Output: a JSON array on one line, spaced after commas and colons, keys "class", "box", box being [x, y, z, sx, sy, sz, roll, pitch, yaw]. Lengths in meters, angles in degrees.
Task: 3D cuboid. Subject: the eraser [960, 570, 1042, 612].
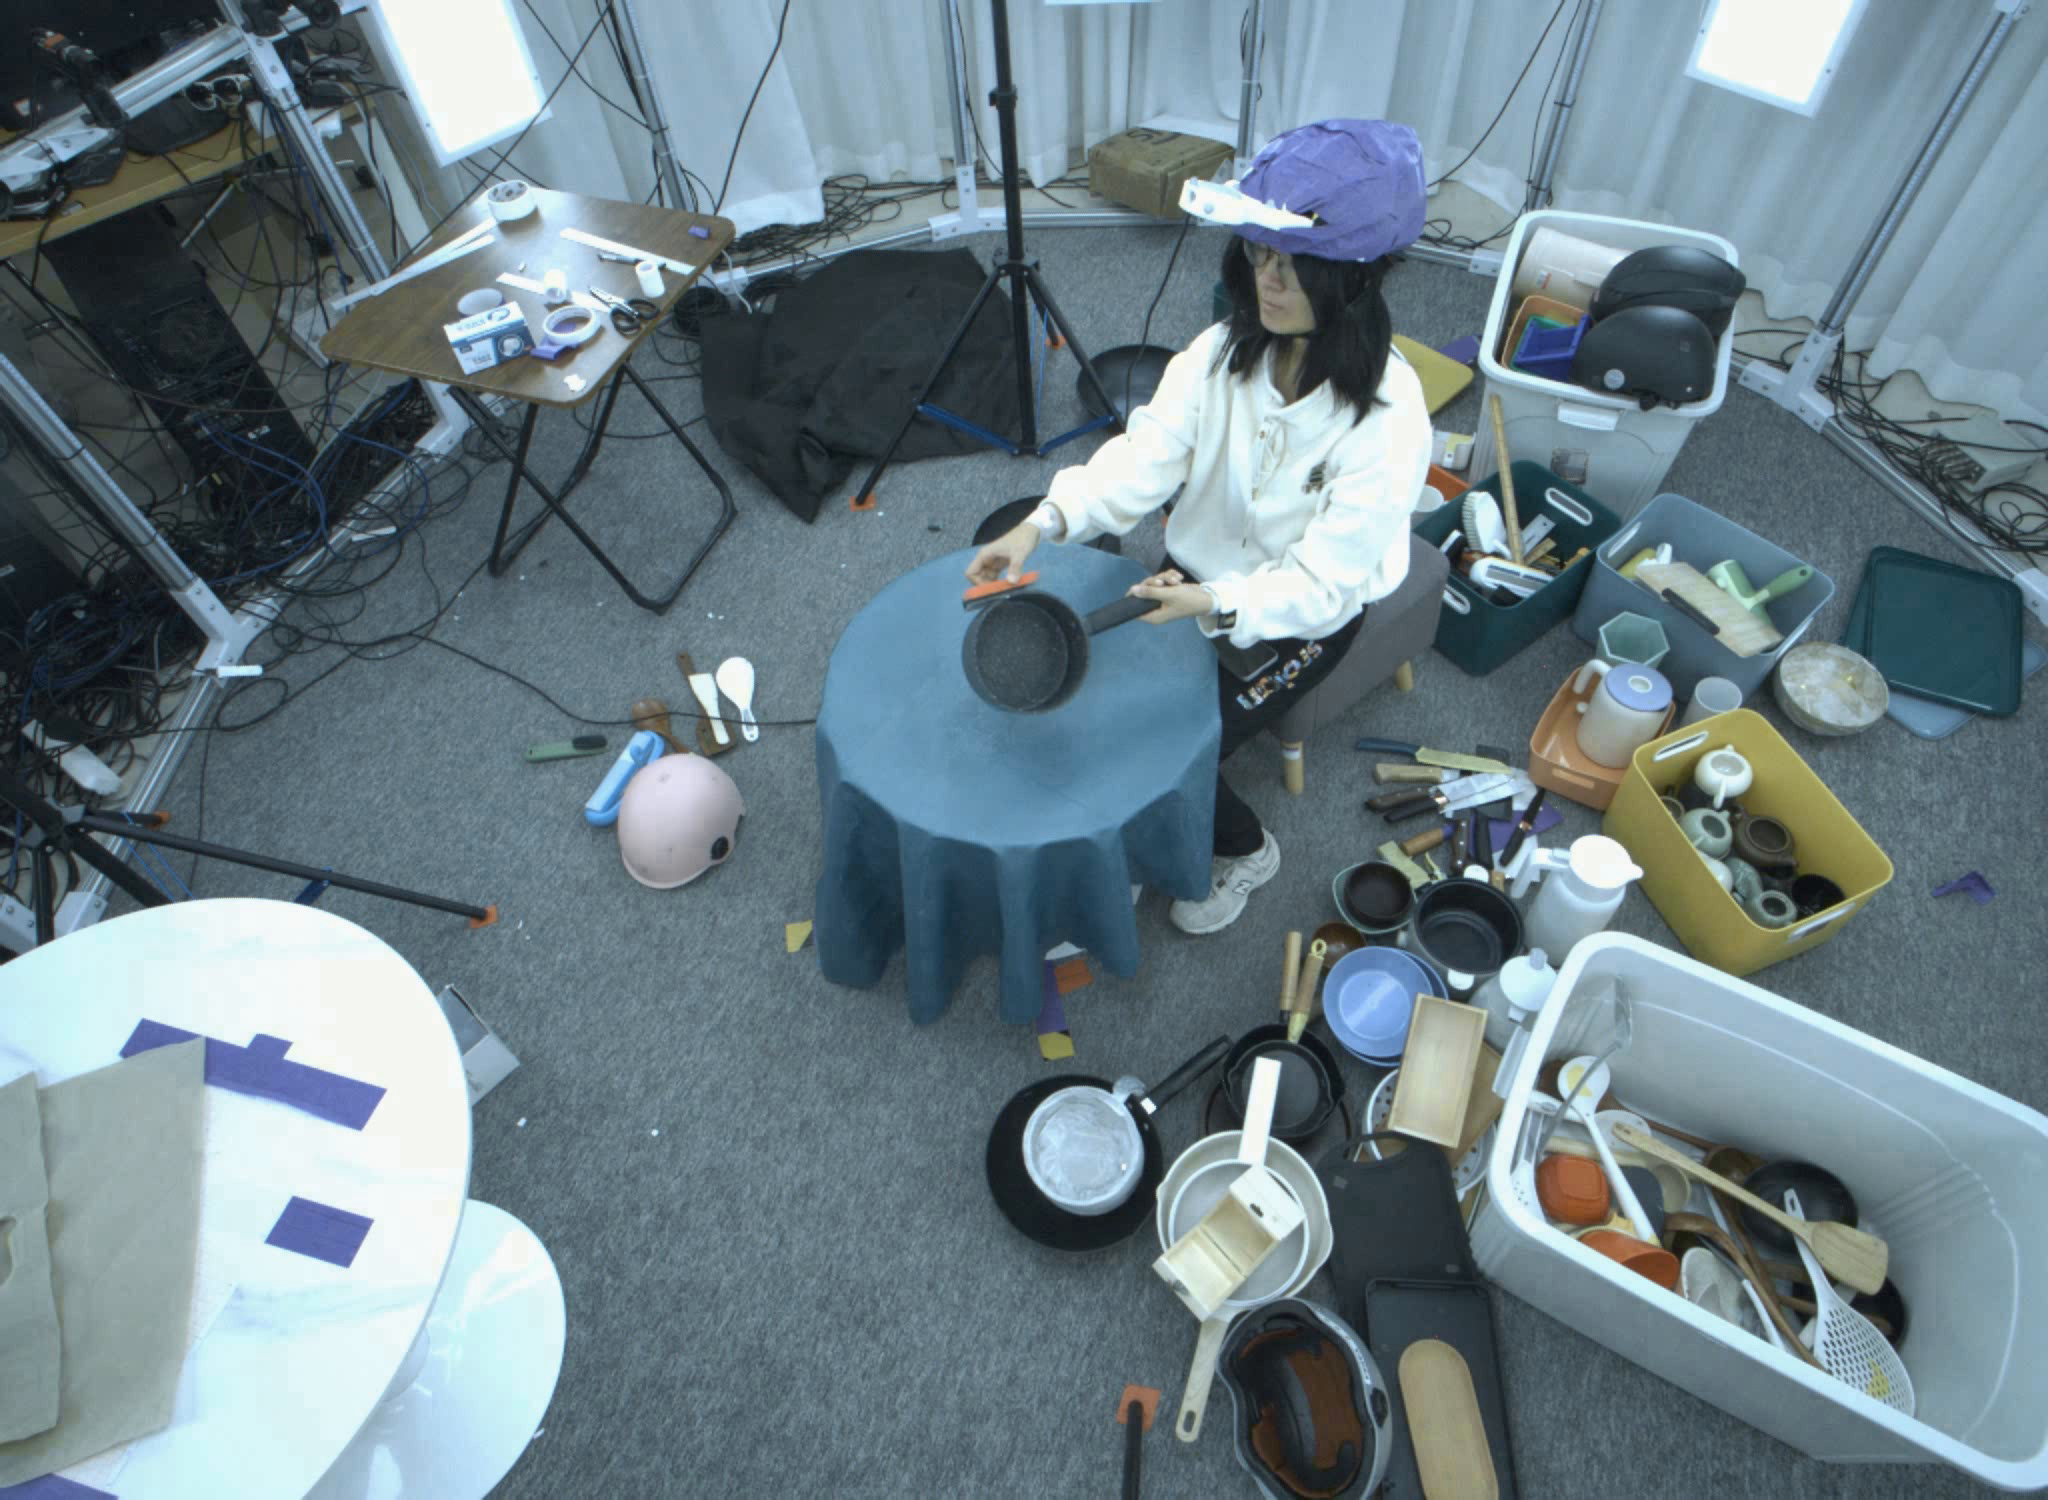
[{"class": "eraser", "box": [-0.032, -0.223, 1.714, 0.109, 0.058, 0.023, -18, 89, -19]}]

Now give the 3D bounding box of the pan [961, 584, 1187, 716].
[{"class": "pan", "box": [0.070, -0.163, 1.727, 0.332, 0.085, 0.173, -23, 100, -17]}]
